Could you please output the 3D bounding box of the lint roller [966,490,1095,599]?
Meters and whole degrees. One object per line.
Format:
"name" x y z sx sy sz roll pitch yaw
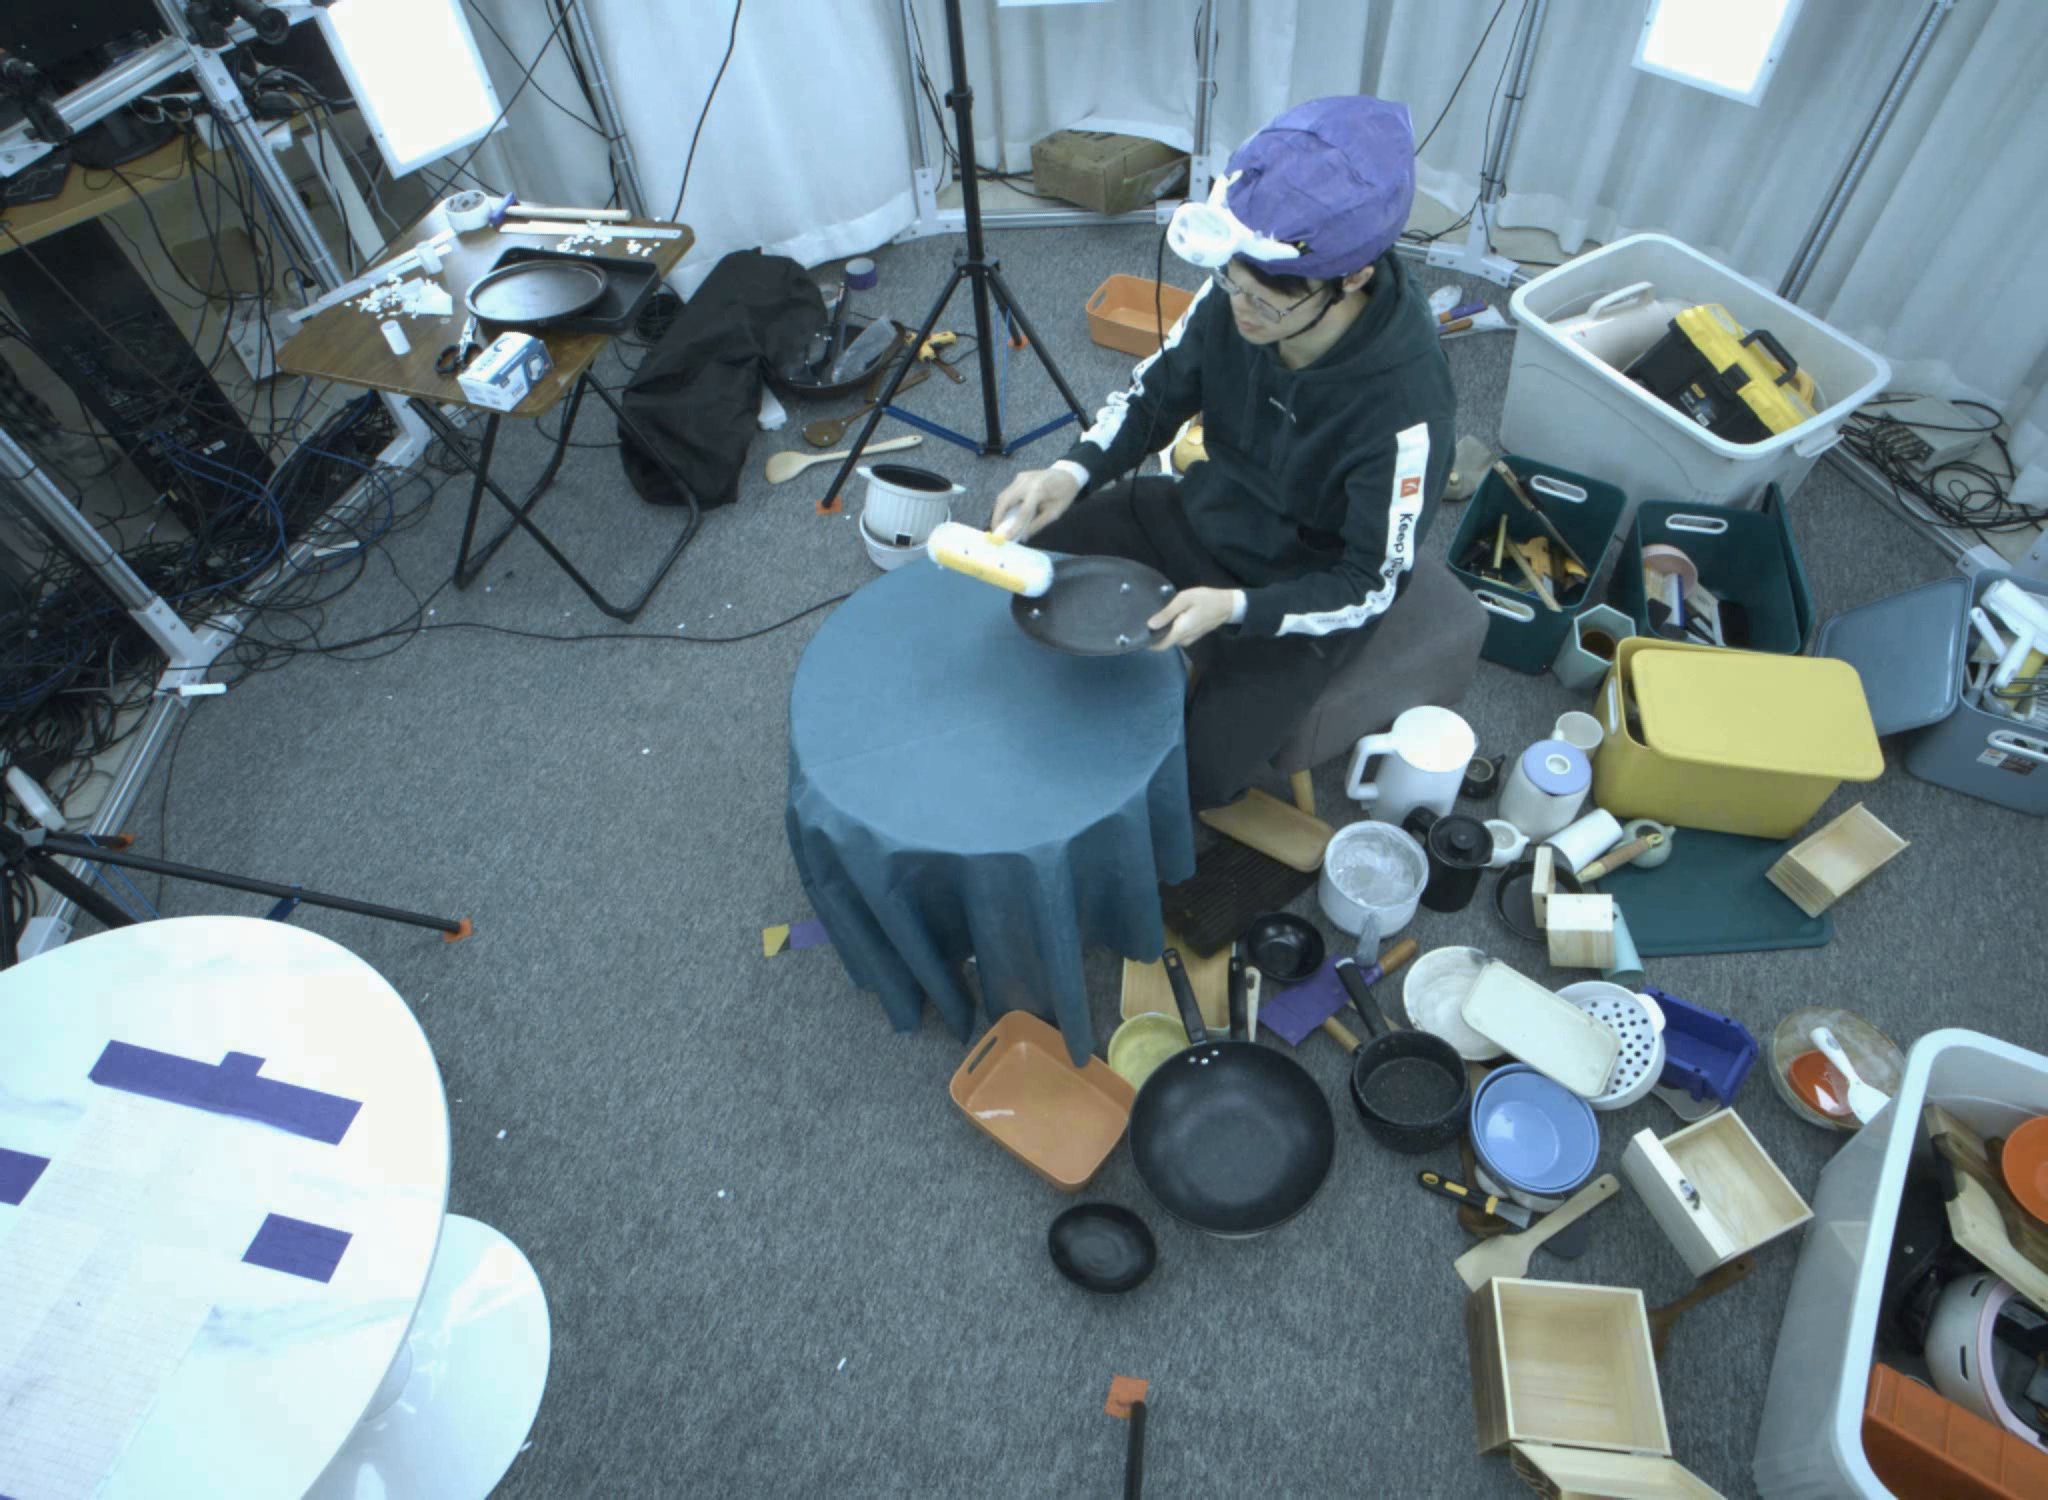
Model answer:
"lint roller" 0.030 -0.314 1.812 0.191 0.075 0.192 17 46 14

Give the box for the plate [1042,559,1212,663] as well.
"plate" 0.147 -0.195 1.760 0.244 0.023 0.242 1 44 0
